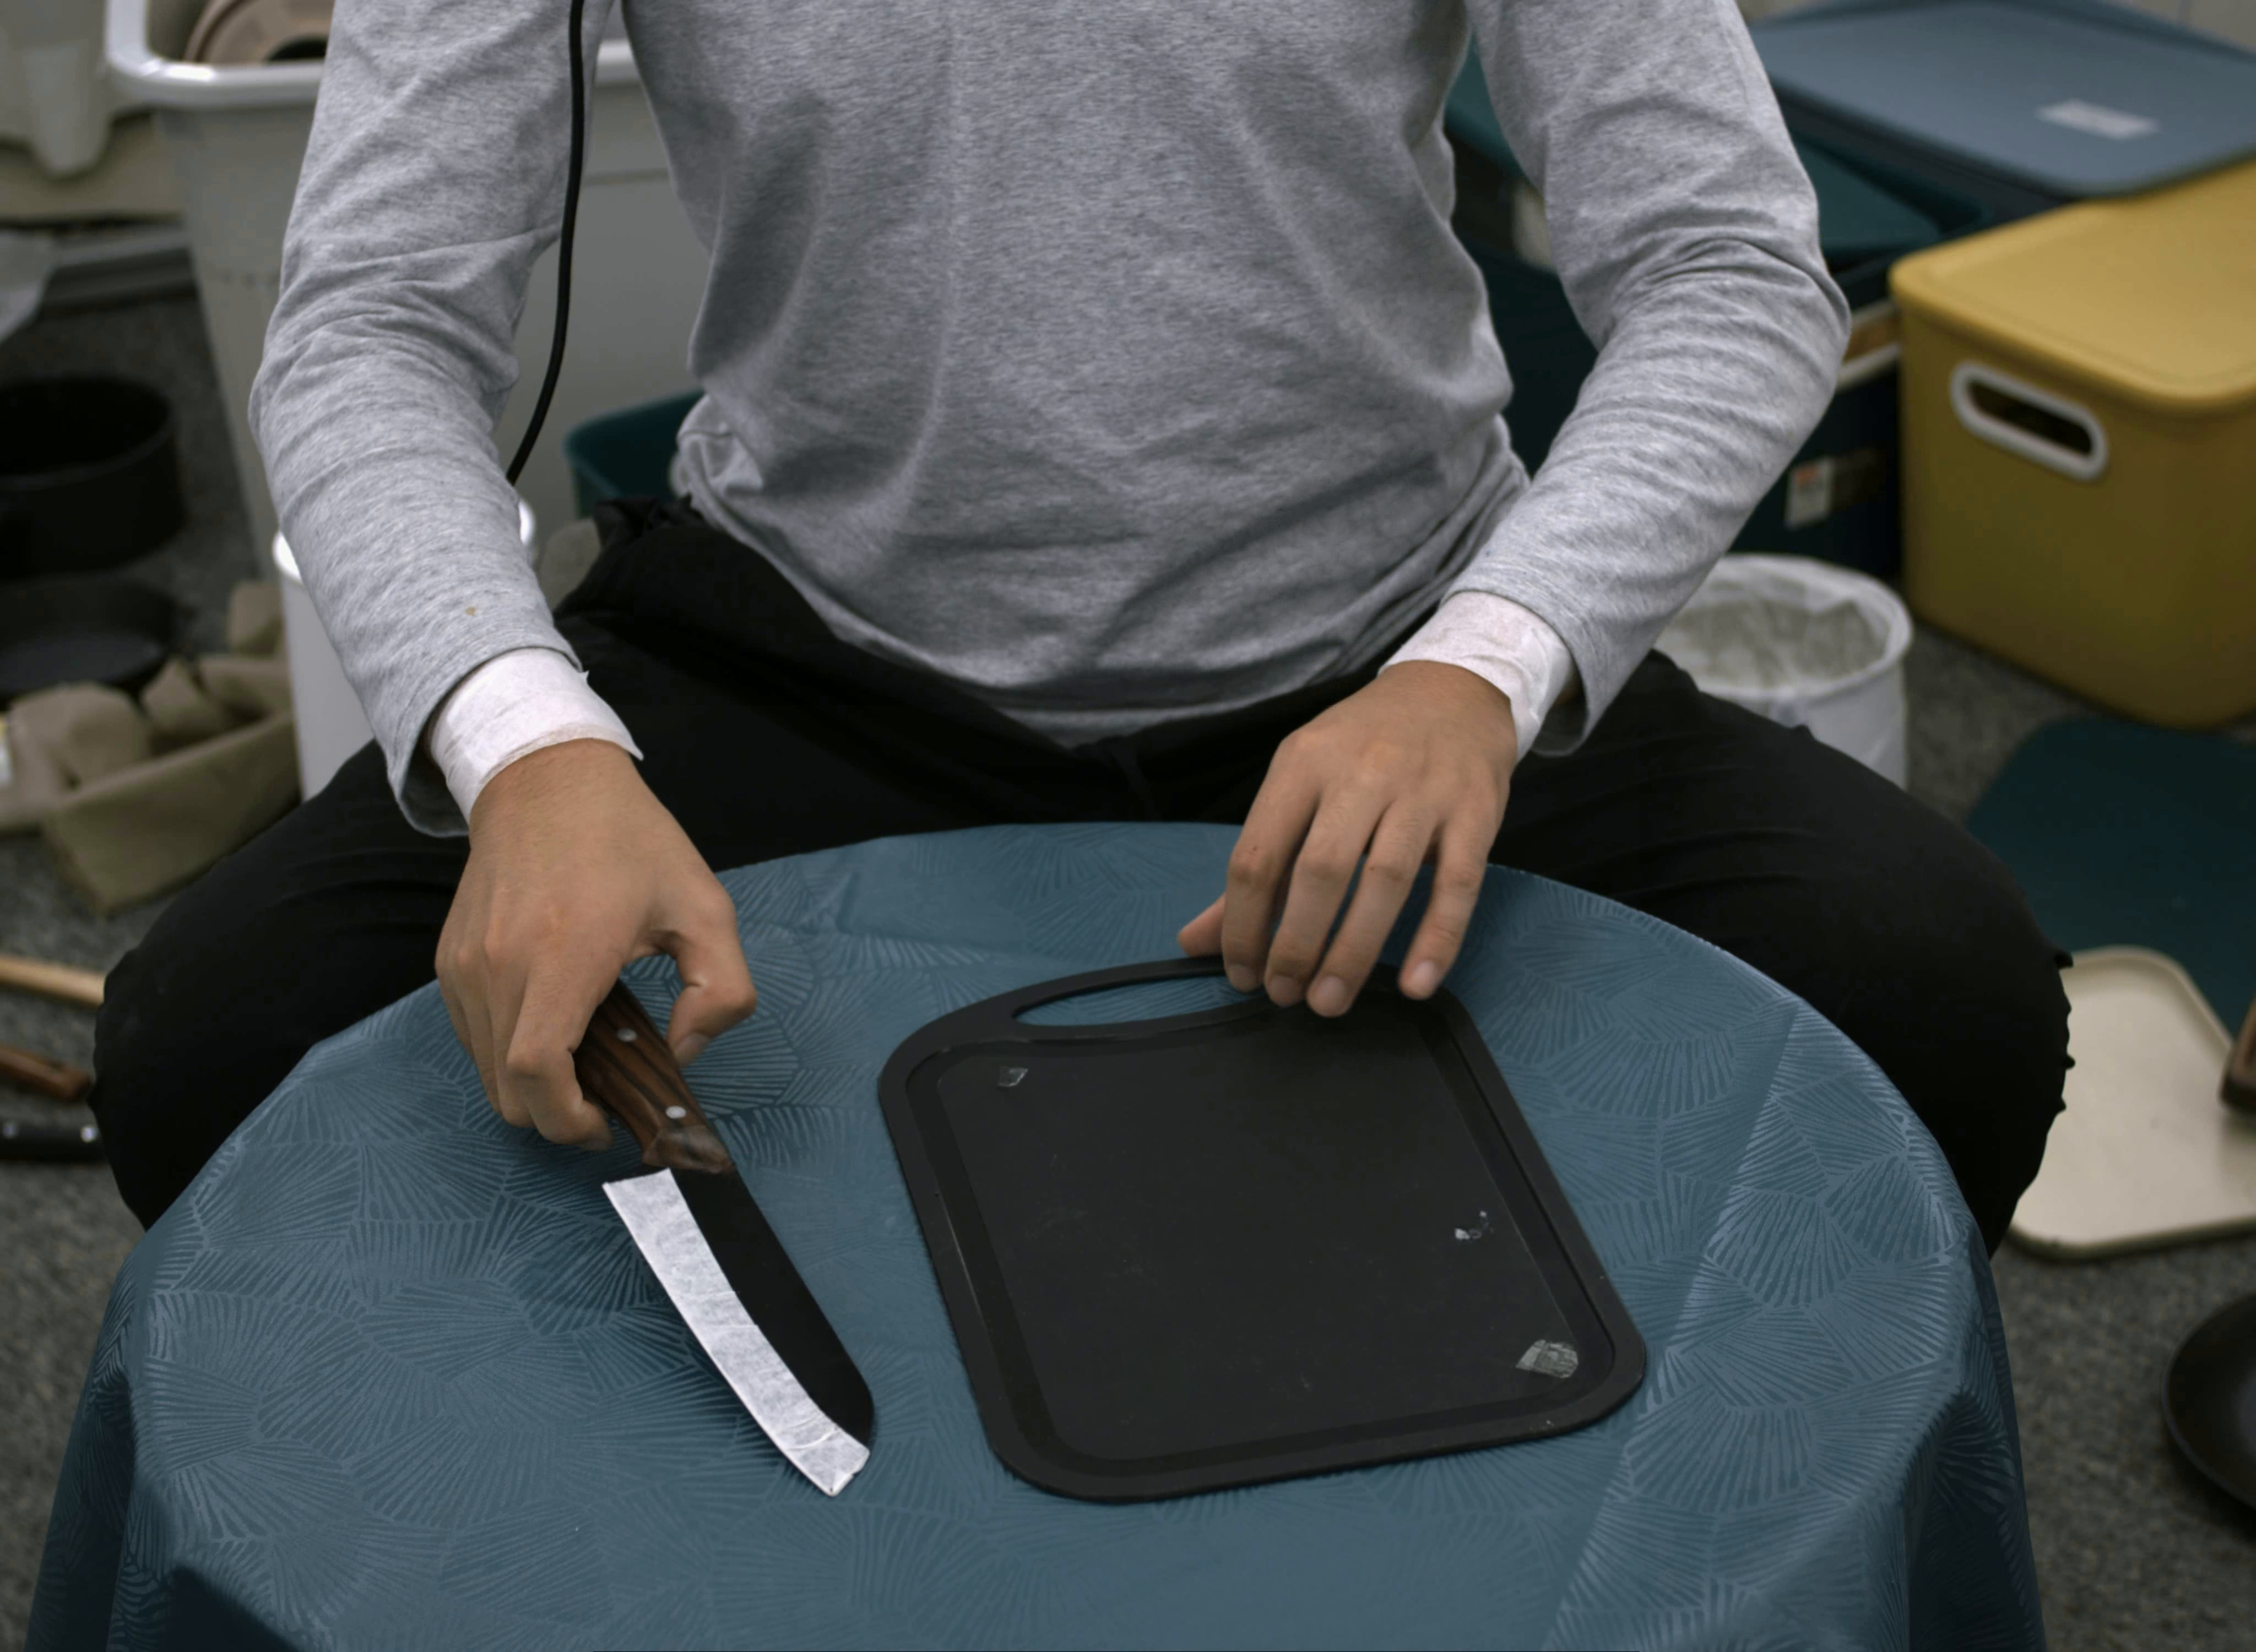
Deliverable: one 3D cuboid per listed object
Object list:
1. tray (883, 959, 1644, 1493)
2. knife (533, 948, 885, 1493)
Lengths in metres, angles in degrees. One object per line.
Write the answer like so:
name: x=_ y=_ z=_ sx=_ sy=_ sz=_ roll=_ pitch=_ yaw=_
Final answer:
tray: x=0.036 y=0.122 z=1.851 sx=0.211 sy=0.009 sz=0.329 roll=-7 pitch=27 yaw=-9
knife: x=-0.140 y=0.126 z=1.821 sx=0.050 sy=0.020 sz=0.292 roll=-10 pitch=36 yaw=-19
